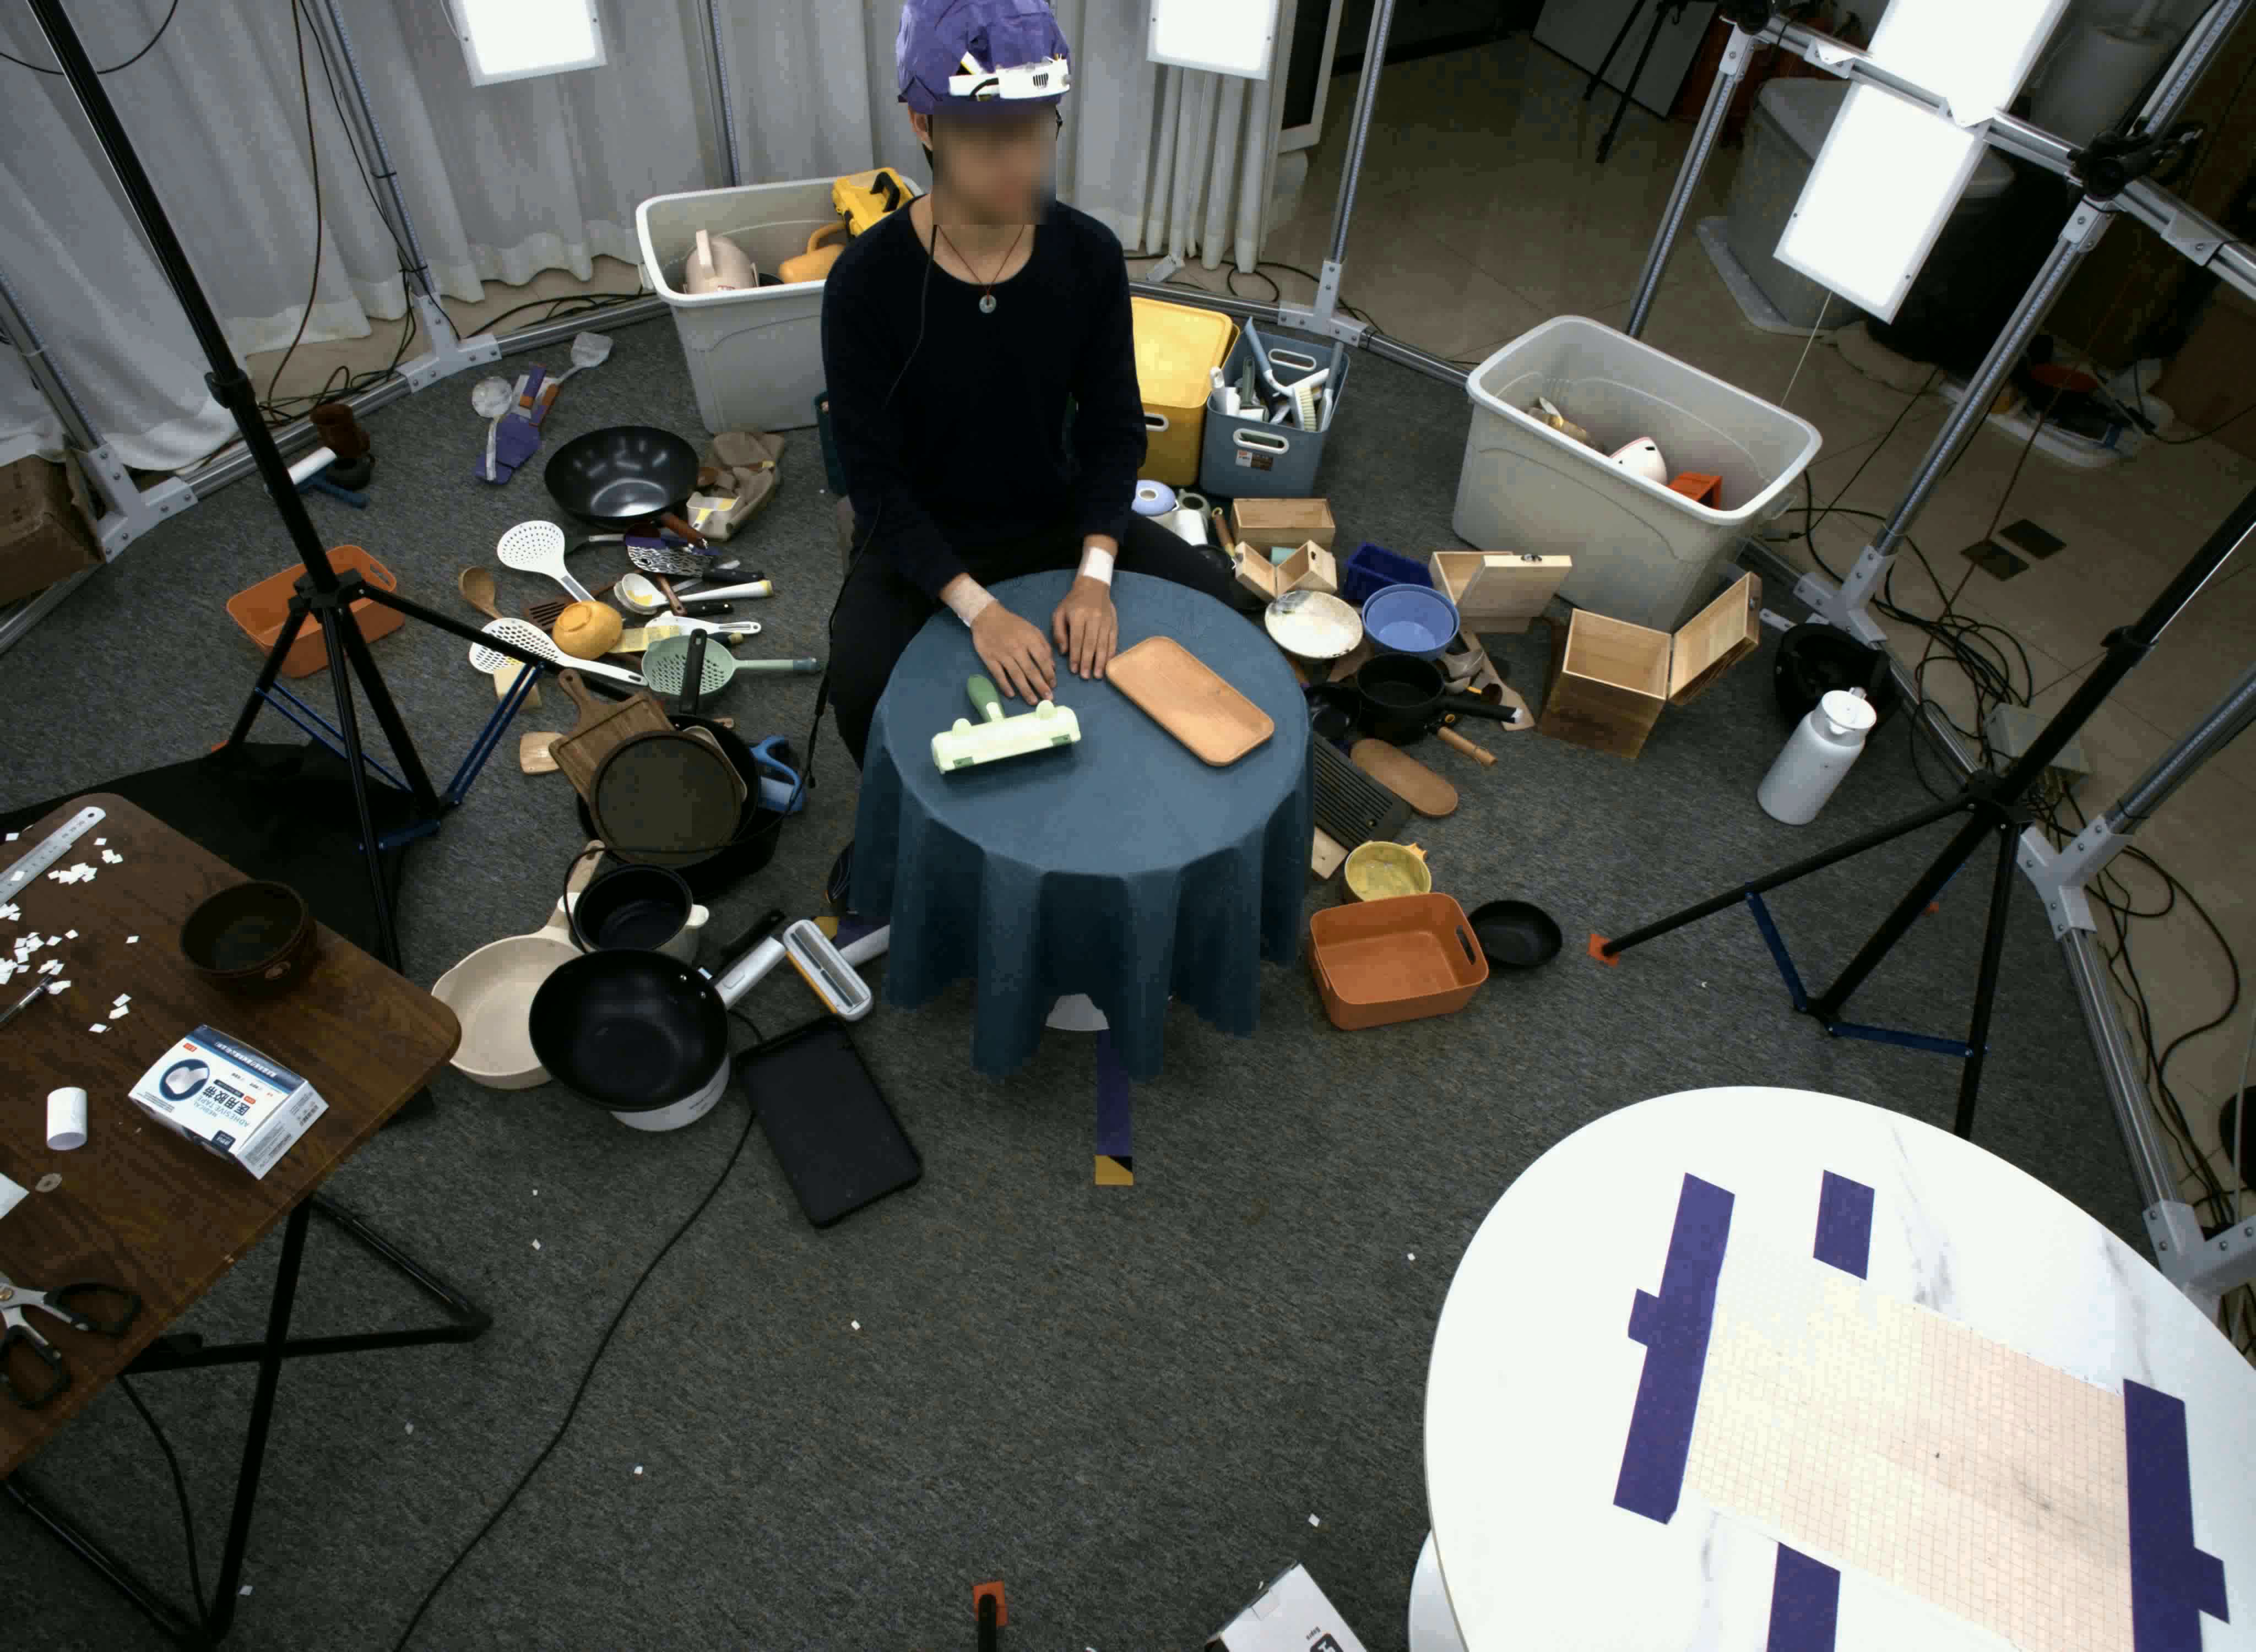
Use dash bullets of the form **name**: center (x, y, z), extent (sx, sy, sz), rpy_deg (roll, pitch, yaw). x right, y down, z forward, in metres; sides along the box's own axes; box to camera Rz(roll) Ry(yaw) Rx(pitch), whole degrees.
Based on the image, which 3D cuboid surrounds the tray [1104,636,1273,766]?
- **tray**: center (0.084, -0.180, 1.820), extent (0.131, 0.022, 0.255), rpy_deg (-30, 57, -29)

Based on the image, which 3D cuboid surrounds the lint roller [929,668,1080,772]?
- **lint roller**: center (-0.184, -0.166, 1.744), extent (0.198, 0.080, 0.187), rpy_deg (-14, 57, -17)
